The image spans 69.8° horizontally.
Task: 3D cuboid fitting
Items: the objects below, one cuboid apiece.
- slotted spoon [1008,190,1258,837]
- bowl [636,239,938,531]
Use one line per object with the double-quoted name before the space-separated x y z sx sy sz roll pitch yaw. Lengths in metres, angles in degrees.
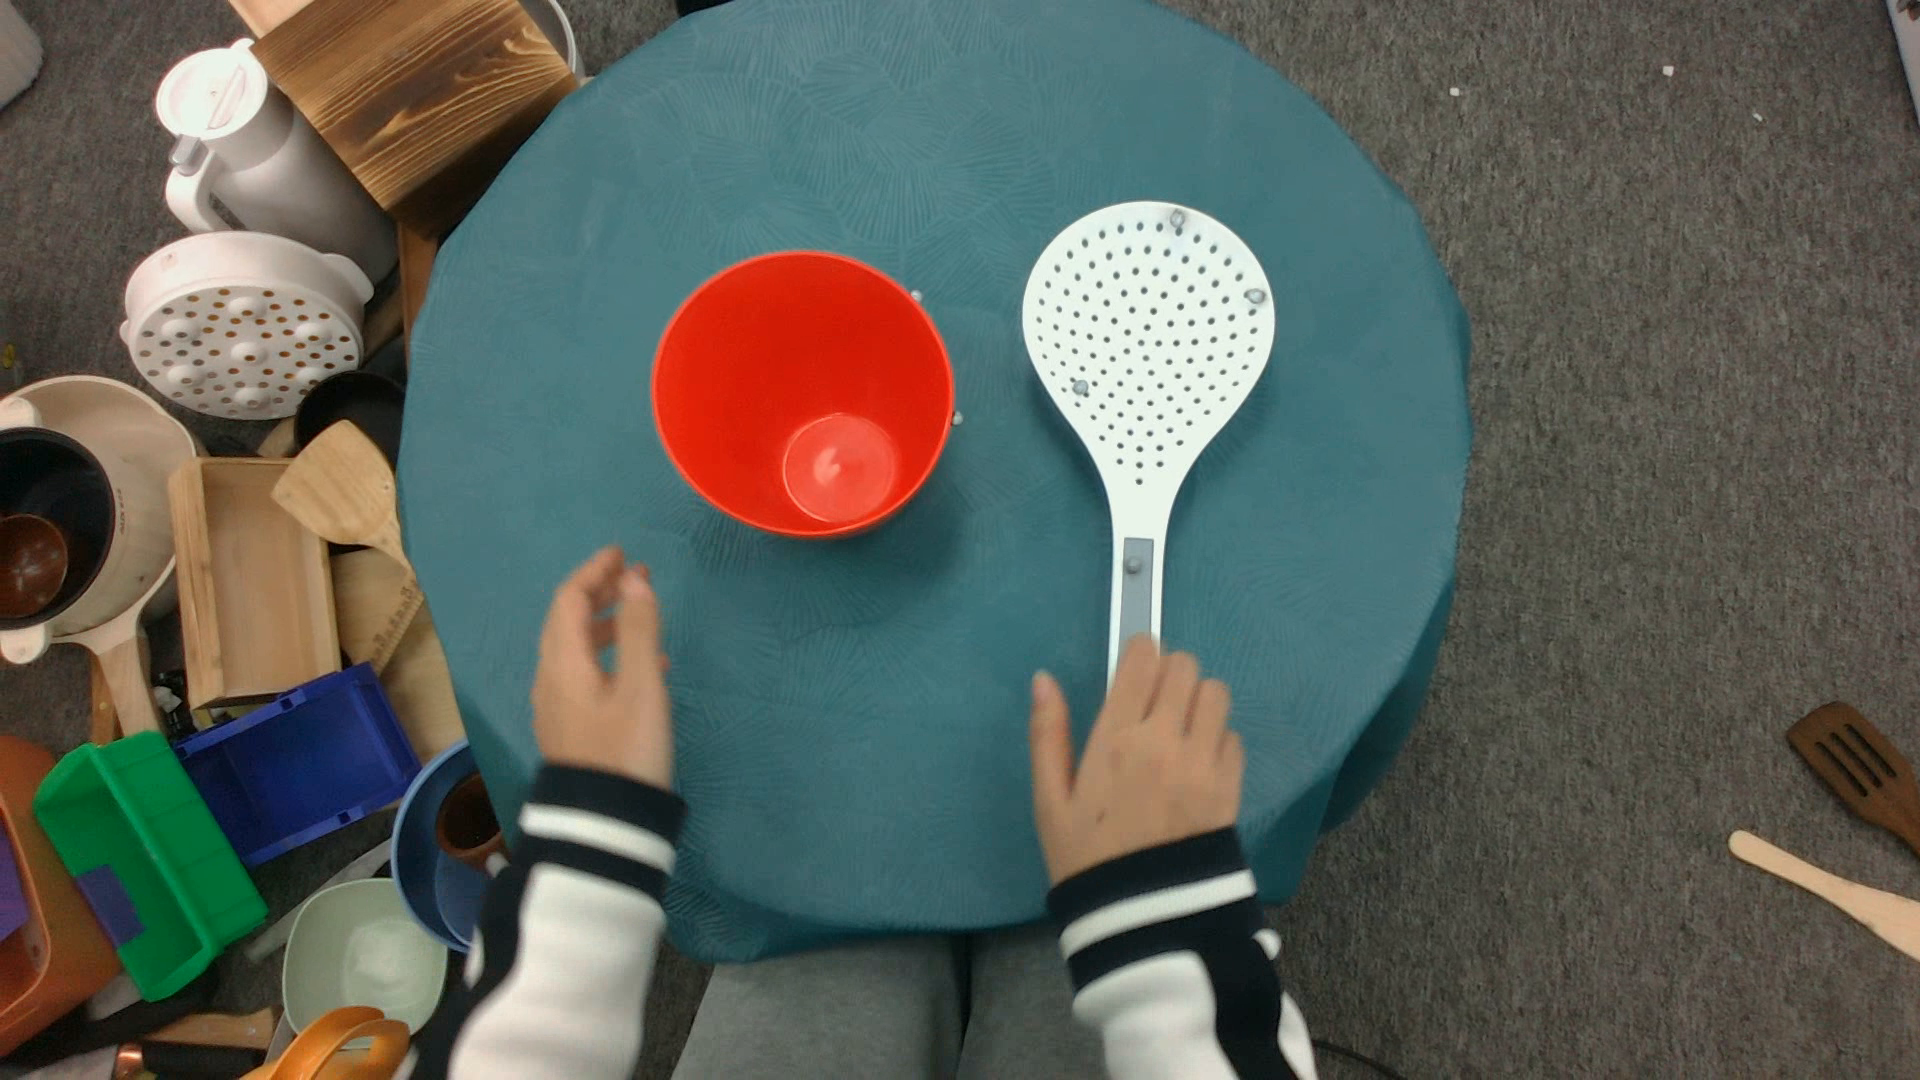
"slotted spoon" 0.086 -0.022 0.729 0.136 0.045 0.351 4 71 2
"bowl" -0.085 -0.067 0.717 0.148 0.104 0.148 1 70 -1
